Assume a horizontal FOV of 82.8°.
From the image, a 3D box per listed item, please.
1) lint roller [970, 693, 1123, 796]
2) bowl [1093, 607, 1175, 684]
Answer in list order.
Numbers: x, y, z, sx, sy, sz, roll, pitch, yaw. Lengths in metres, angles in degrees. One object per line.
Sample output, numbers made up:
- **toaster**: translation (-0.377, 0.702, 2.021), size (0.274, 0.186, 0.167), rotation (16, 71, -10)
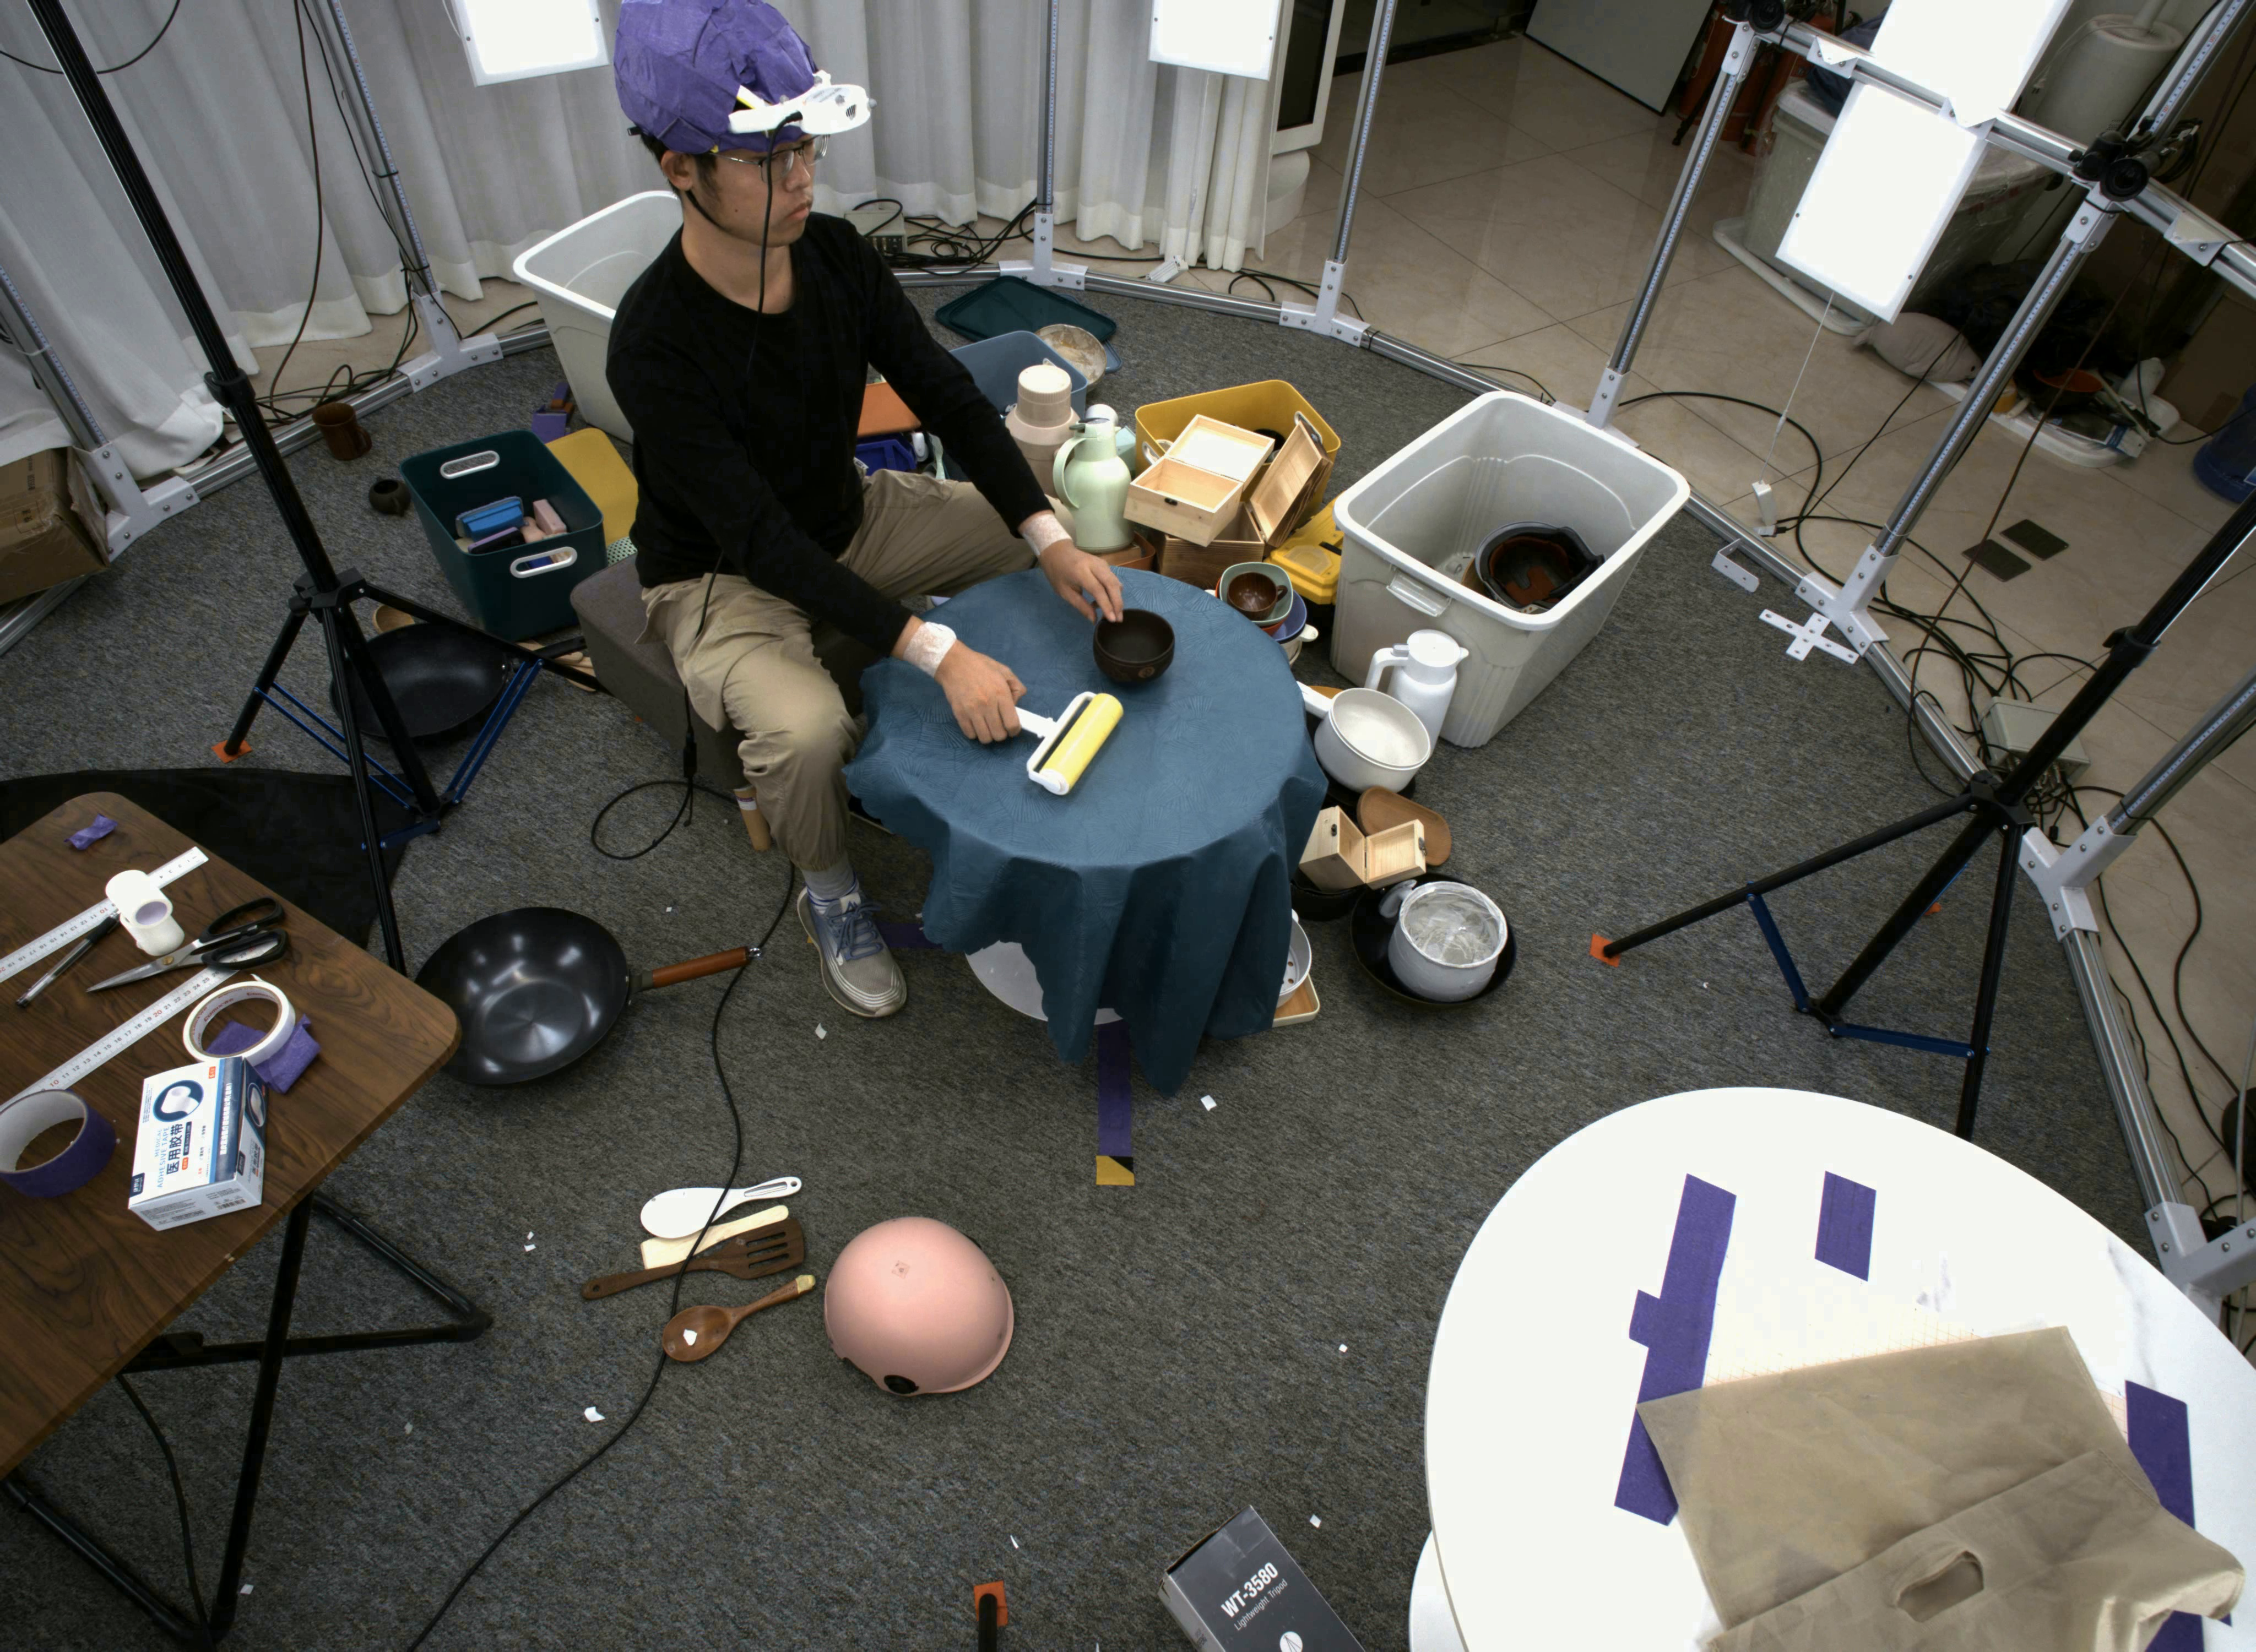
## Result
- **lint roller**: translation (-0.126, -0.142, 1.742), size (0.192, 0.050, 0.177), rotation (27, 52, 7)
- **bowl**: translation (0.007, -0.251, 1.839), size (0.118, 0.068, 0.121), rotation (3, 49, -3)
